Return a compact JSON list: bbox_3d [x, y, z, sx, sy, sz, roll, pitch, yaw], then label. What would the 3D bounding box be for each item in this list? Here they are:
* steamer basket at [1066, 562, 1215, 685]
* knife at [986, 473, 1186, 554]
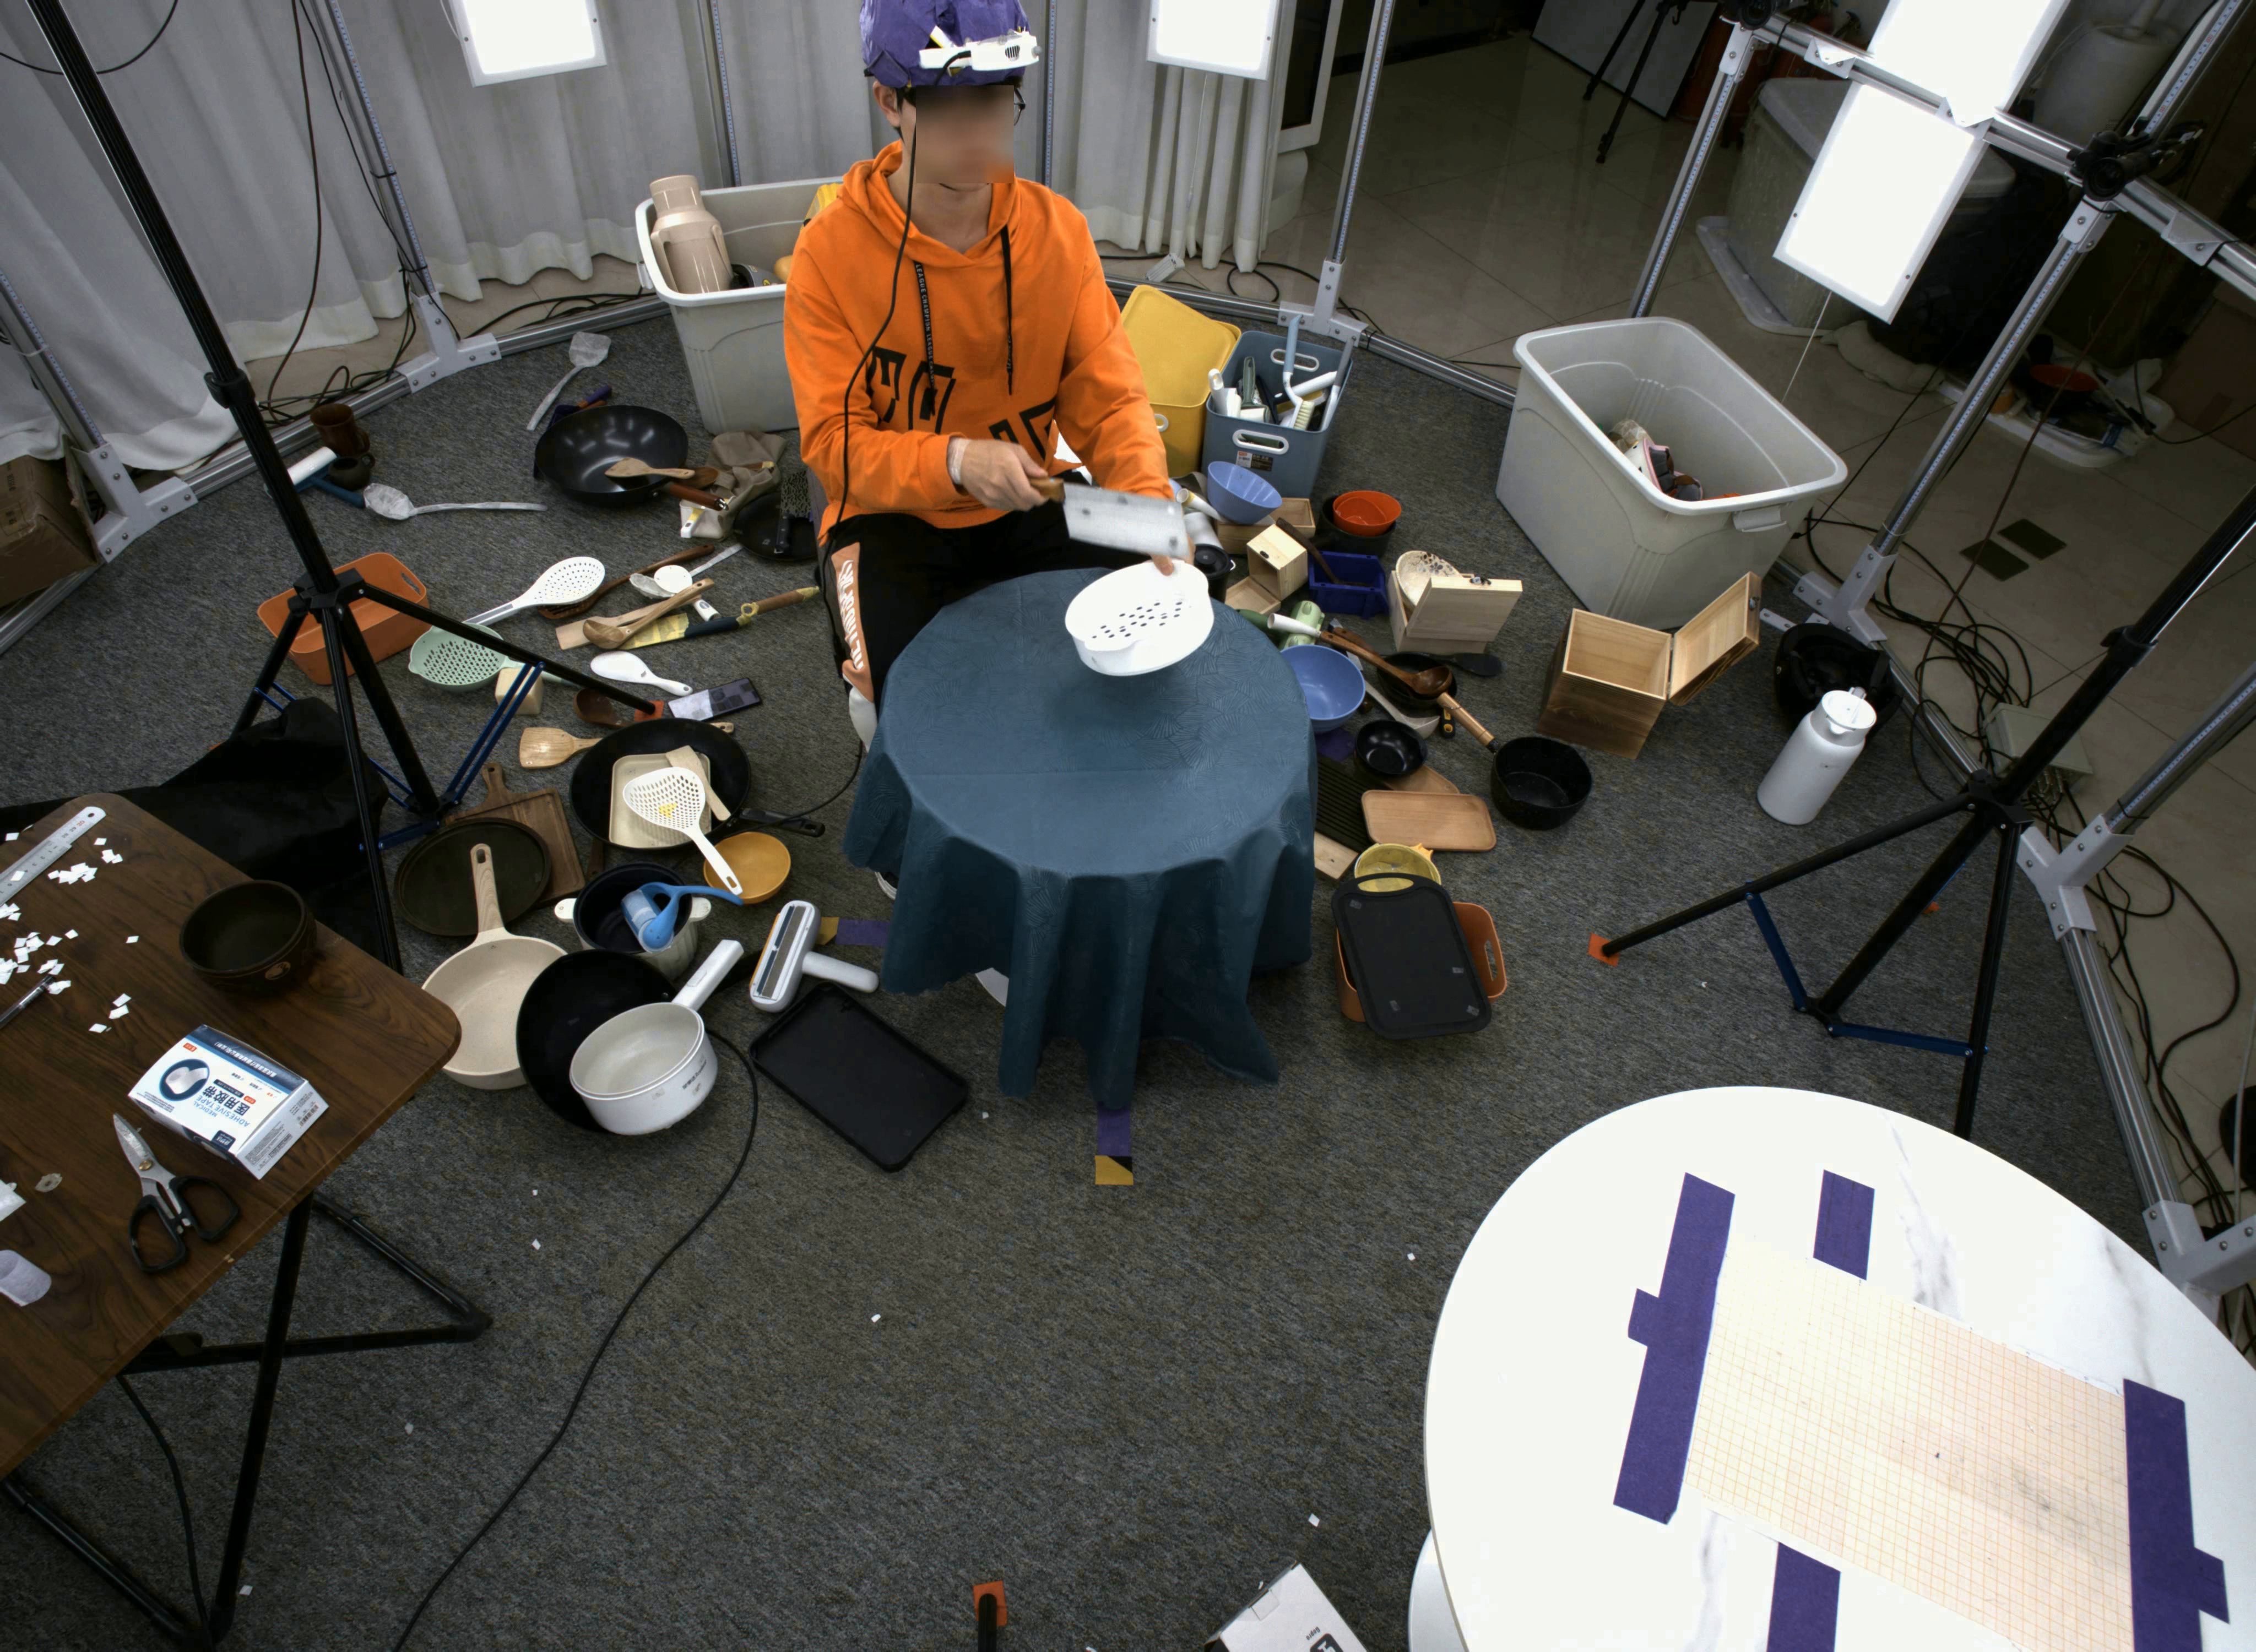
[{"bbox_3d":[0.020,-0.275,1.760,0.203,0.067,0.235,4,44,25],"label":"steamer basket"},{"bbox_3d":[-0.057,-0.416,1.729,0.308,0.090,0.021,18,53,28],"label":"knife"}]
